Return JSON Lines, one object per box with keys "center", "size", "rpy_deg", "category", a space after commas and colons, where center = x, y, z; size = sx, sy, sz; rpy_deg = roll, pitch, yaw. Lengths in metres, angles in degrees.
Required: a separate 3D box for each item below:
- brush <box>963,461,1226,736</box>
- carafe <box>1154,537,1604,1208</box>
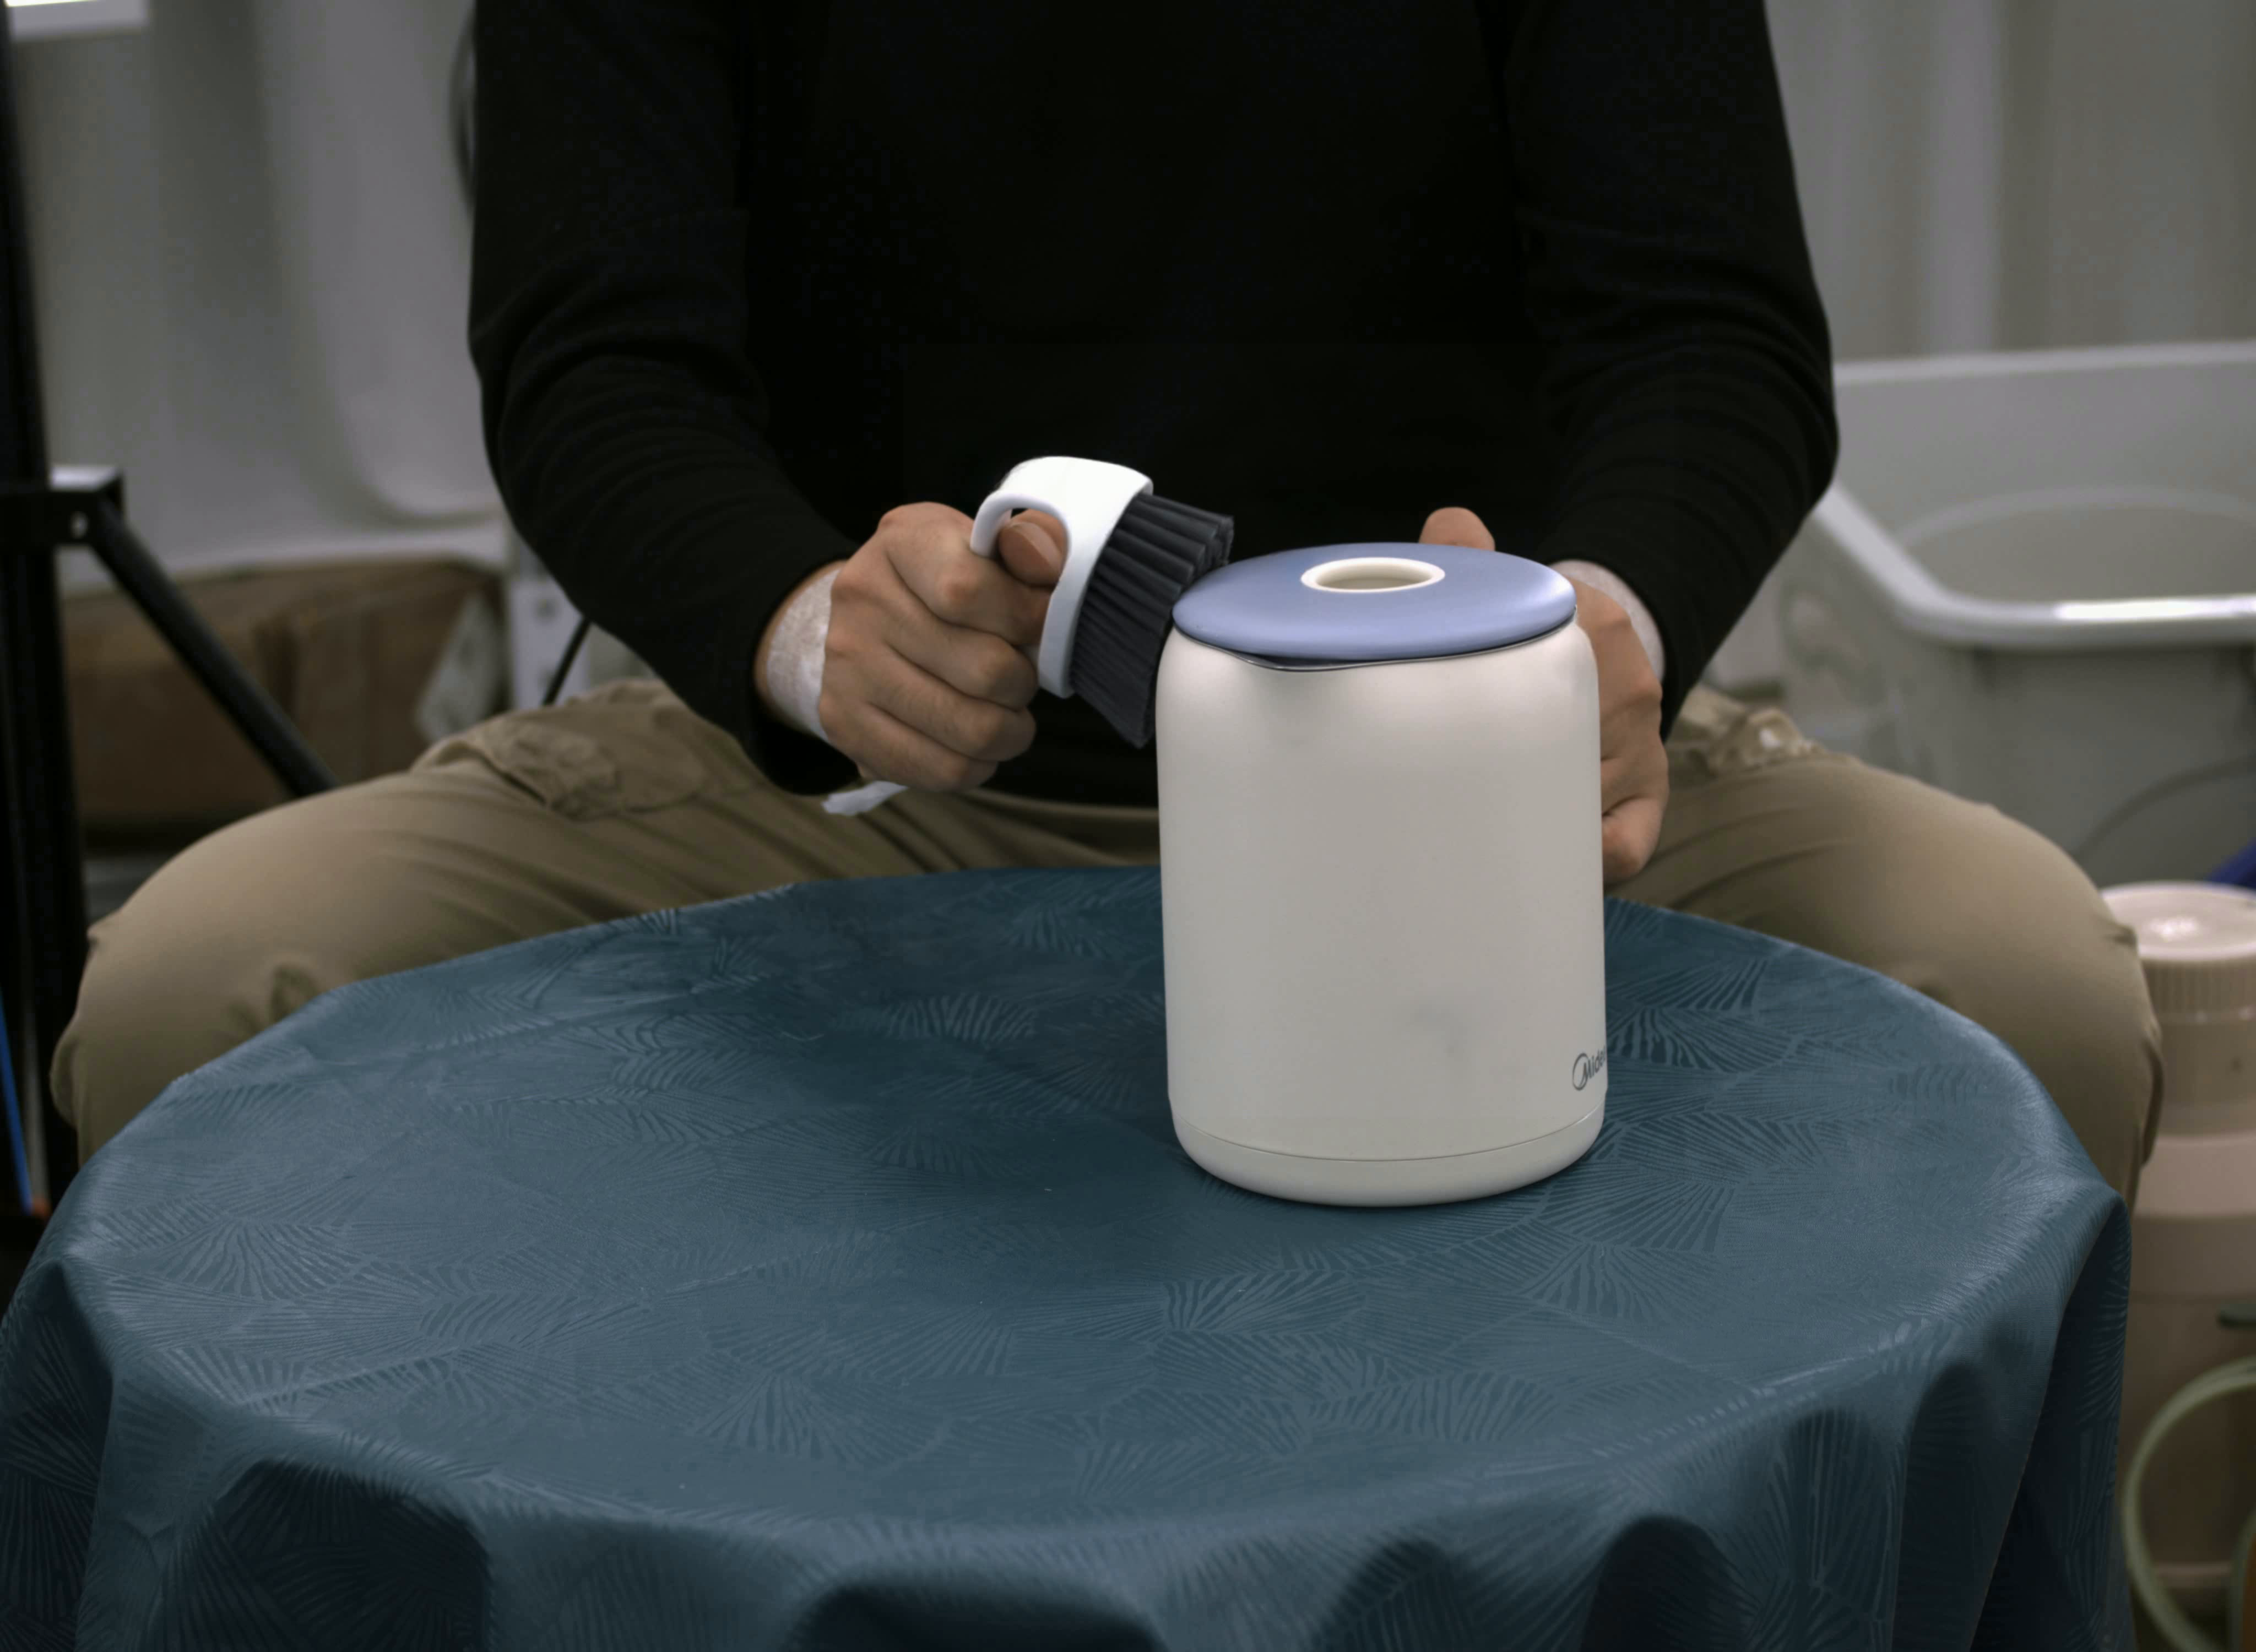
{"center": [-0.015, -0.074, 1.597], "size": [0.073, 0.099, 0.050], "rpy_deg": [30, 66, 9], "category": "brush"}
{"center": [0.084, 0.007, 1.589], "size": [0.134, 0.182, 0.188], "rpy_deg": [5, 15, 22], "category": "carafe"}
